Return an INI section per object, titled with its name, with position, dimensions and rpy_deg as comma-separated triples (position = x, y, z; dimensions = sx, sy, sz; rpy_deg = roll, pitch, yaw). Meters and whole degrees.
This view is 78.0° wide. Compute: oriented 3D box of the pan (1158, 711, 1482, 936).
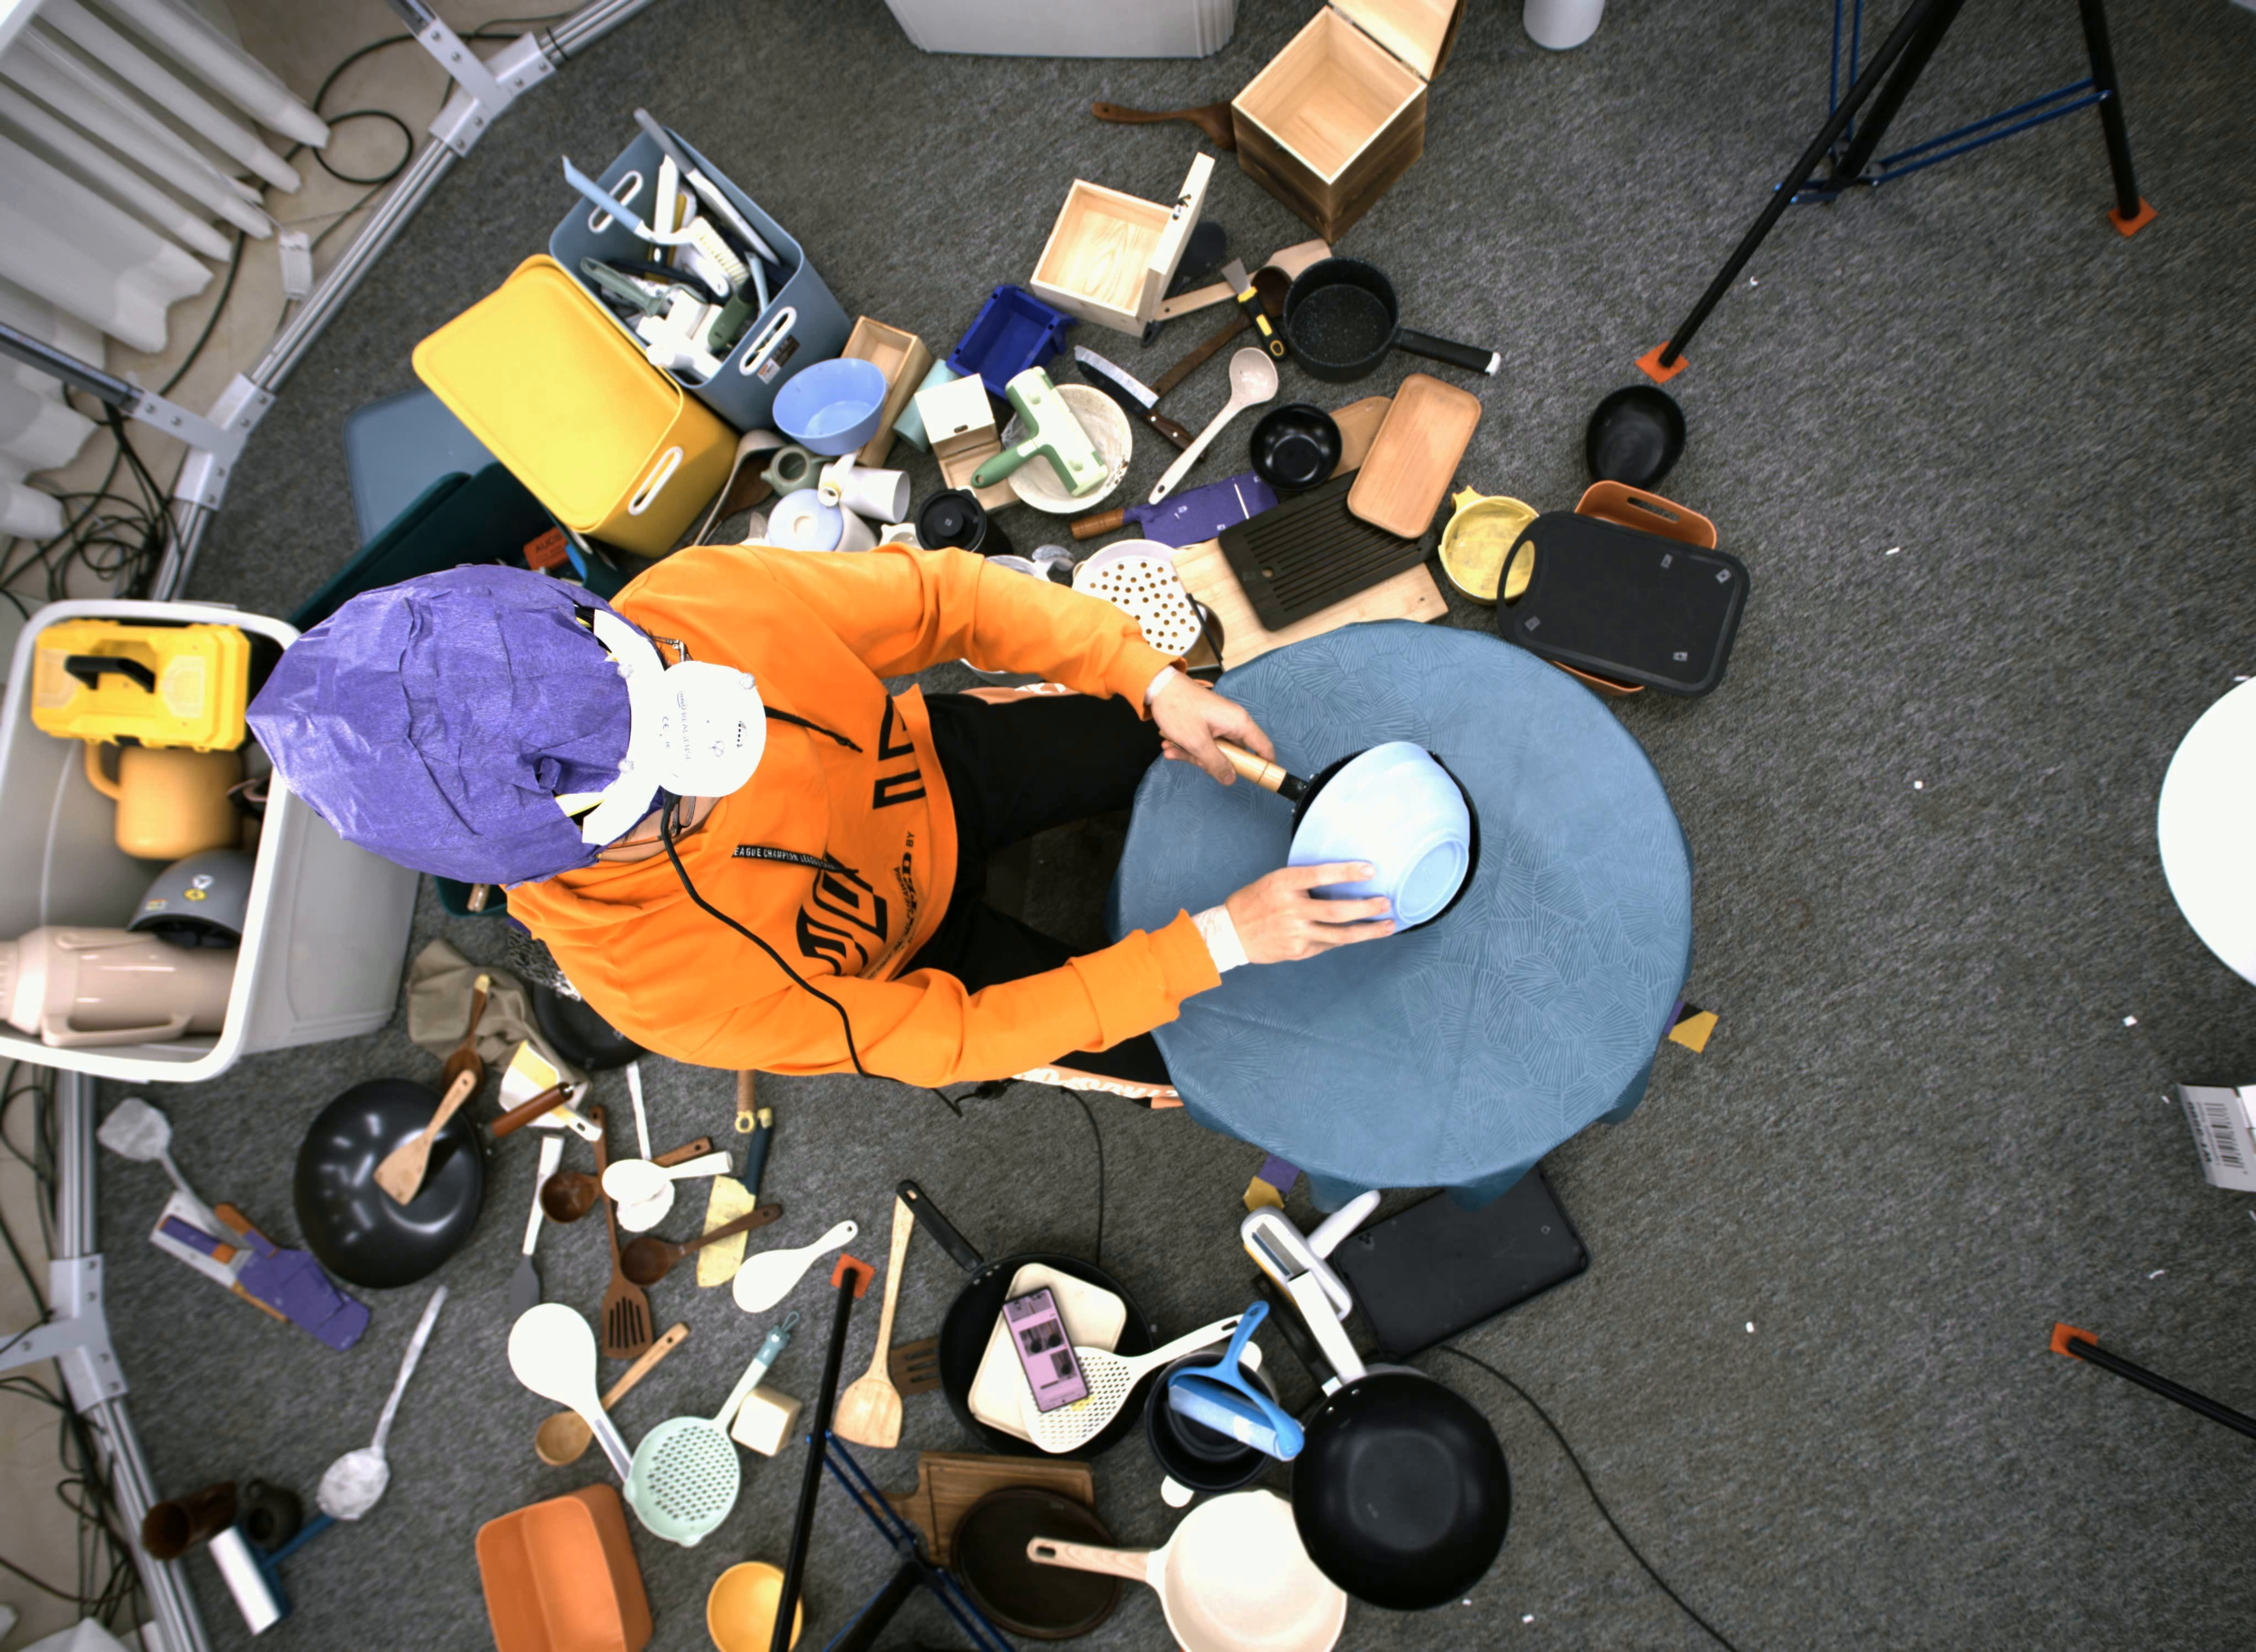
[pan]
position = 0.189, -0.027, 1.380
dimensions = 0.342, 0.106, 0.211
rpy_deg = 29, 109, 10

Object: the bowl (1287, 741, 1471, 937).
[bowl]
position = 0.252, 0.027, 1.287
dimensions = 0.197, 0.198, 0.094
rpy_deg = -51, 49, 3
